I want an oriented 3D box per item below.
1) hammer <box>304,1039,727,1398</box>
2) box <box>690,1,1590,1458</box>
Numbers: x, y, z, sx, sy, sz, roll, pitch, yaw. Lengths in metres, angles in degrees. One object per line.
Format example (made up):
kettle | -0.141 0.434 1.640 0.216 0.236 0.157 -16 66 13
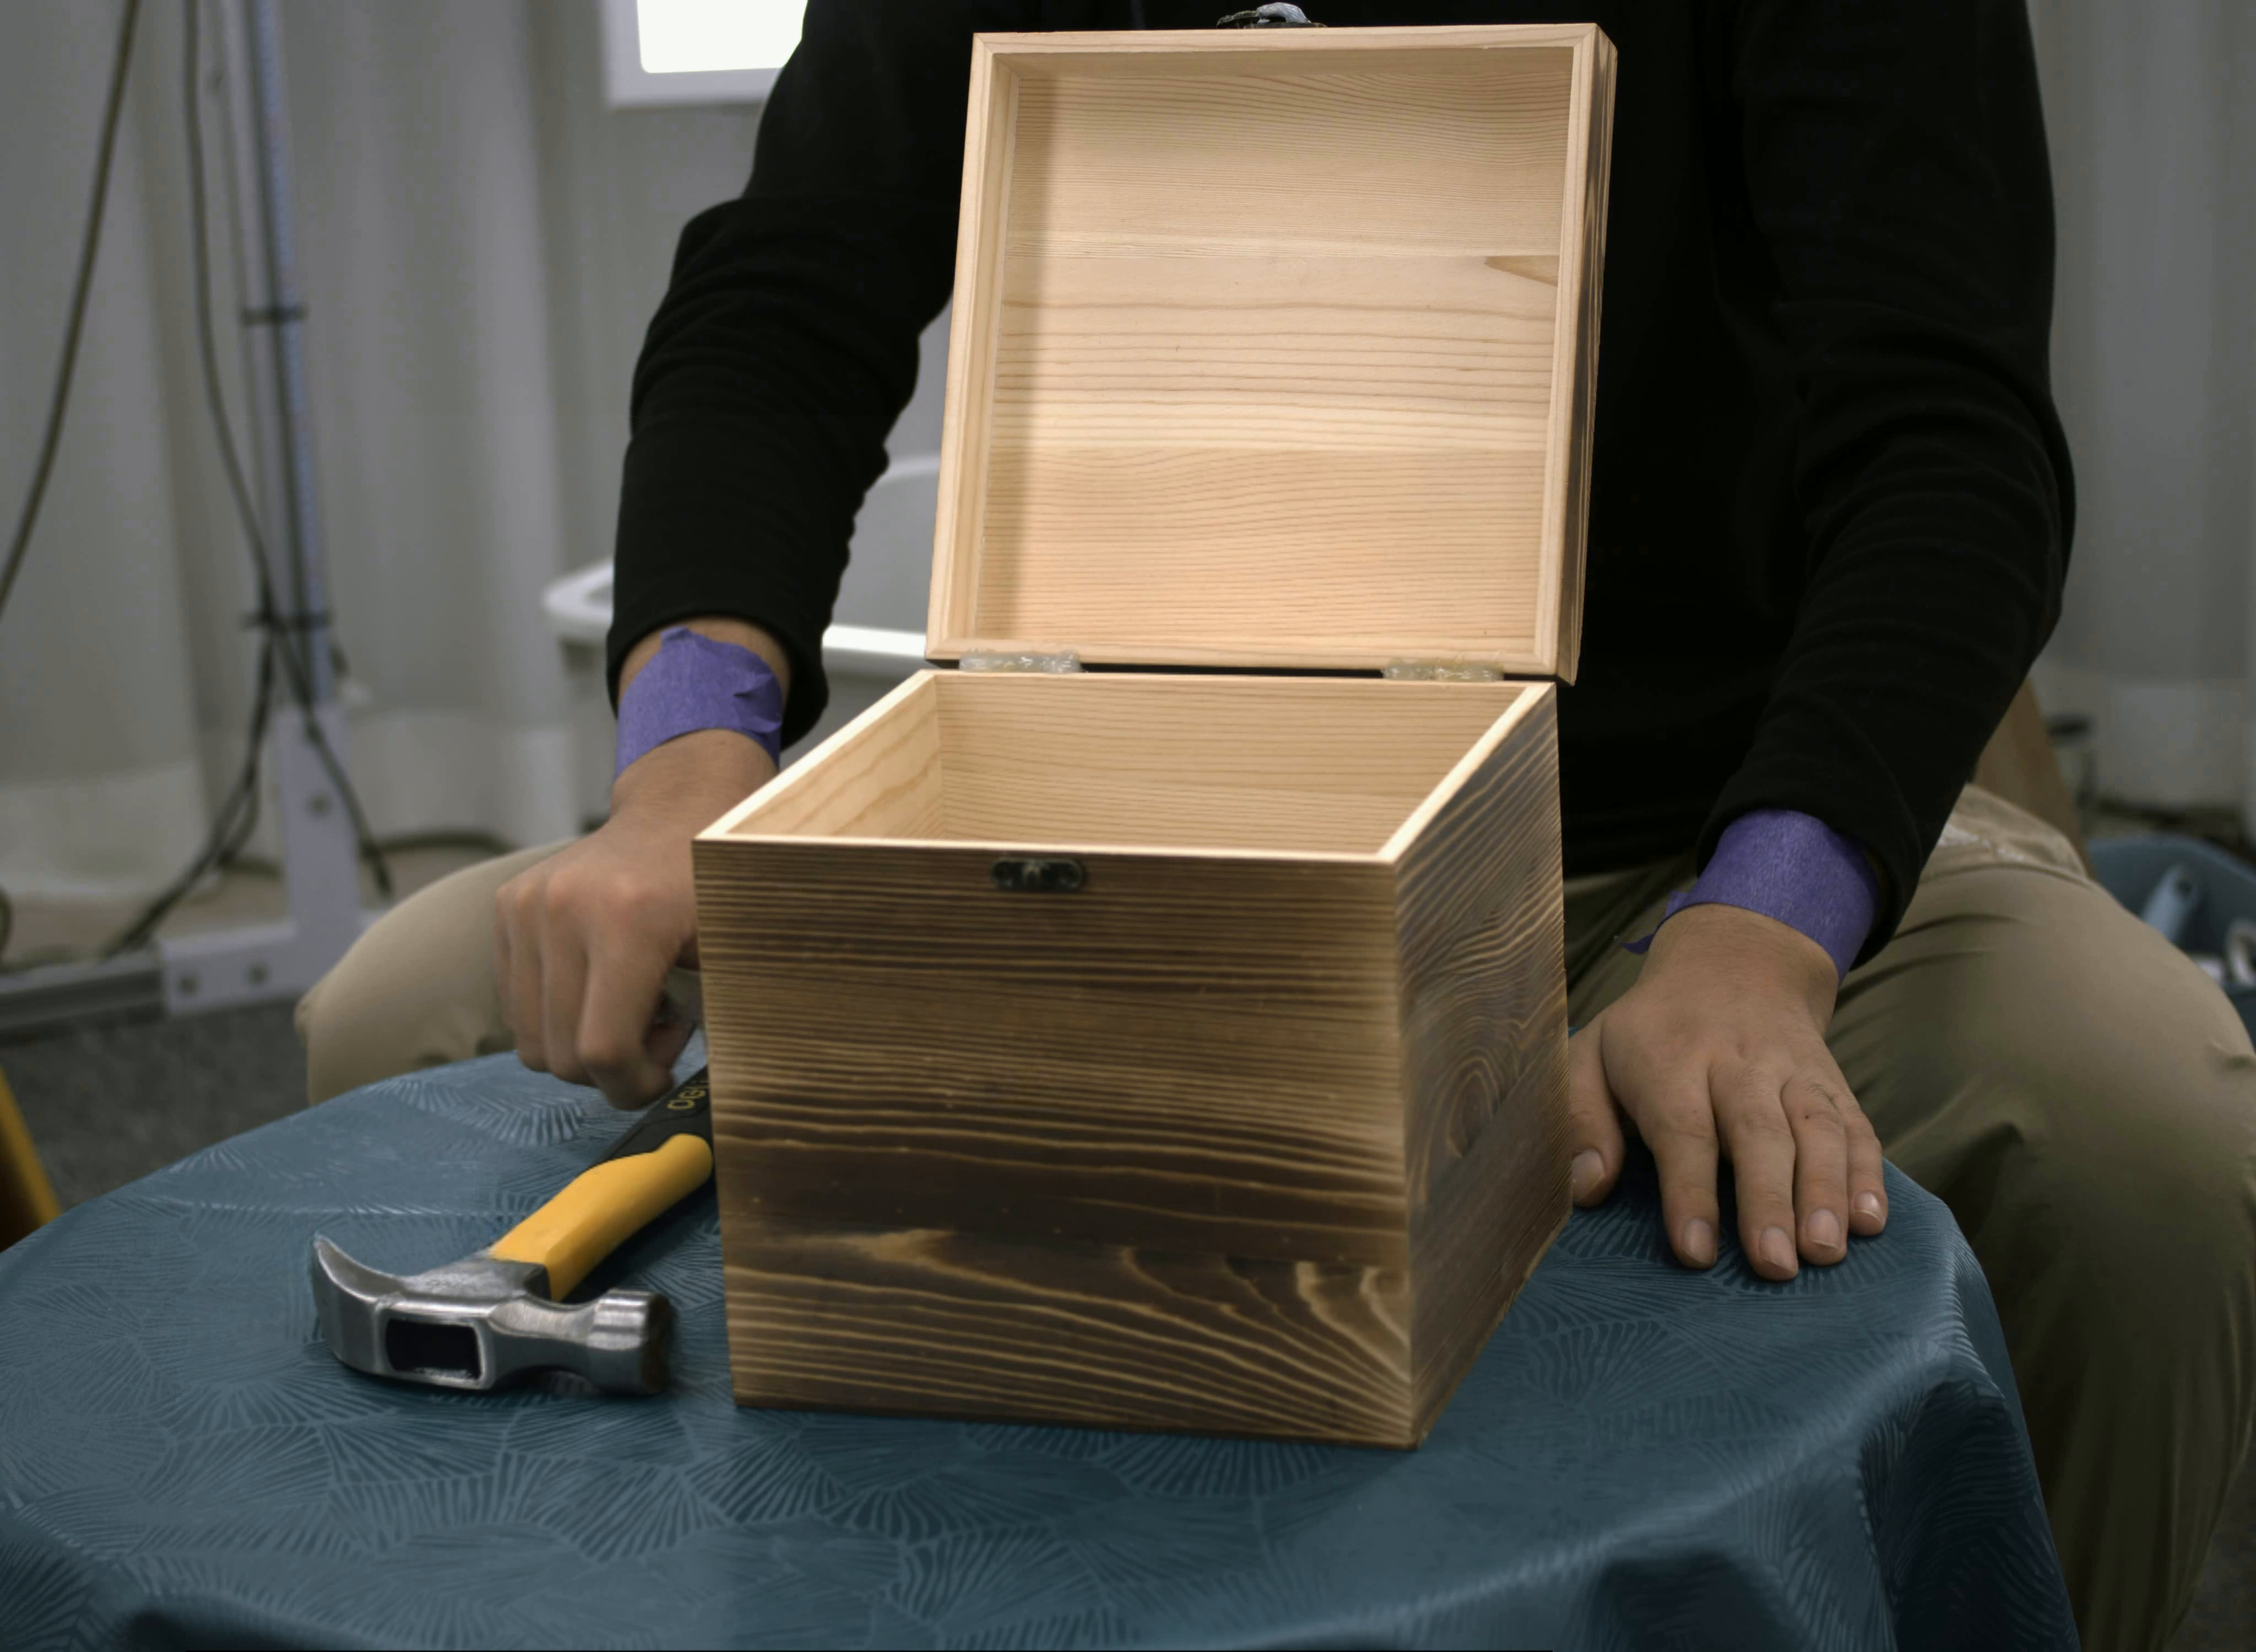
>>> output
hammer | -0.147 0.103 1.717 0.131 0.032 0.340 2 17 19
box | 0.017 -0.043 1.615 0.208 0.374 0.323 1 14 17
